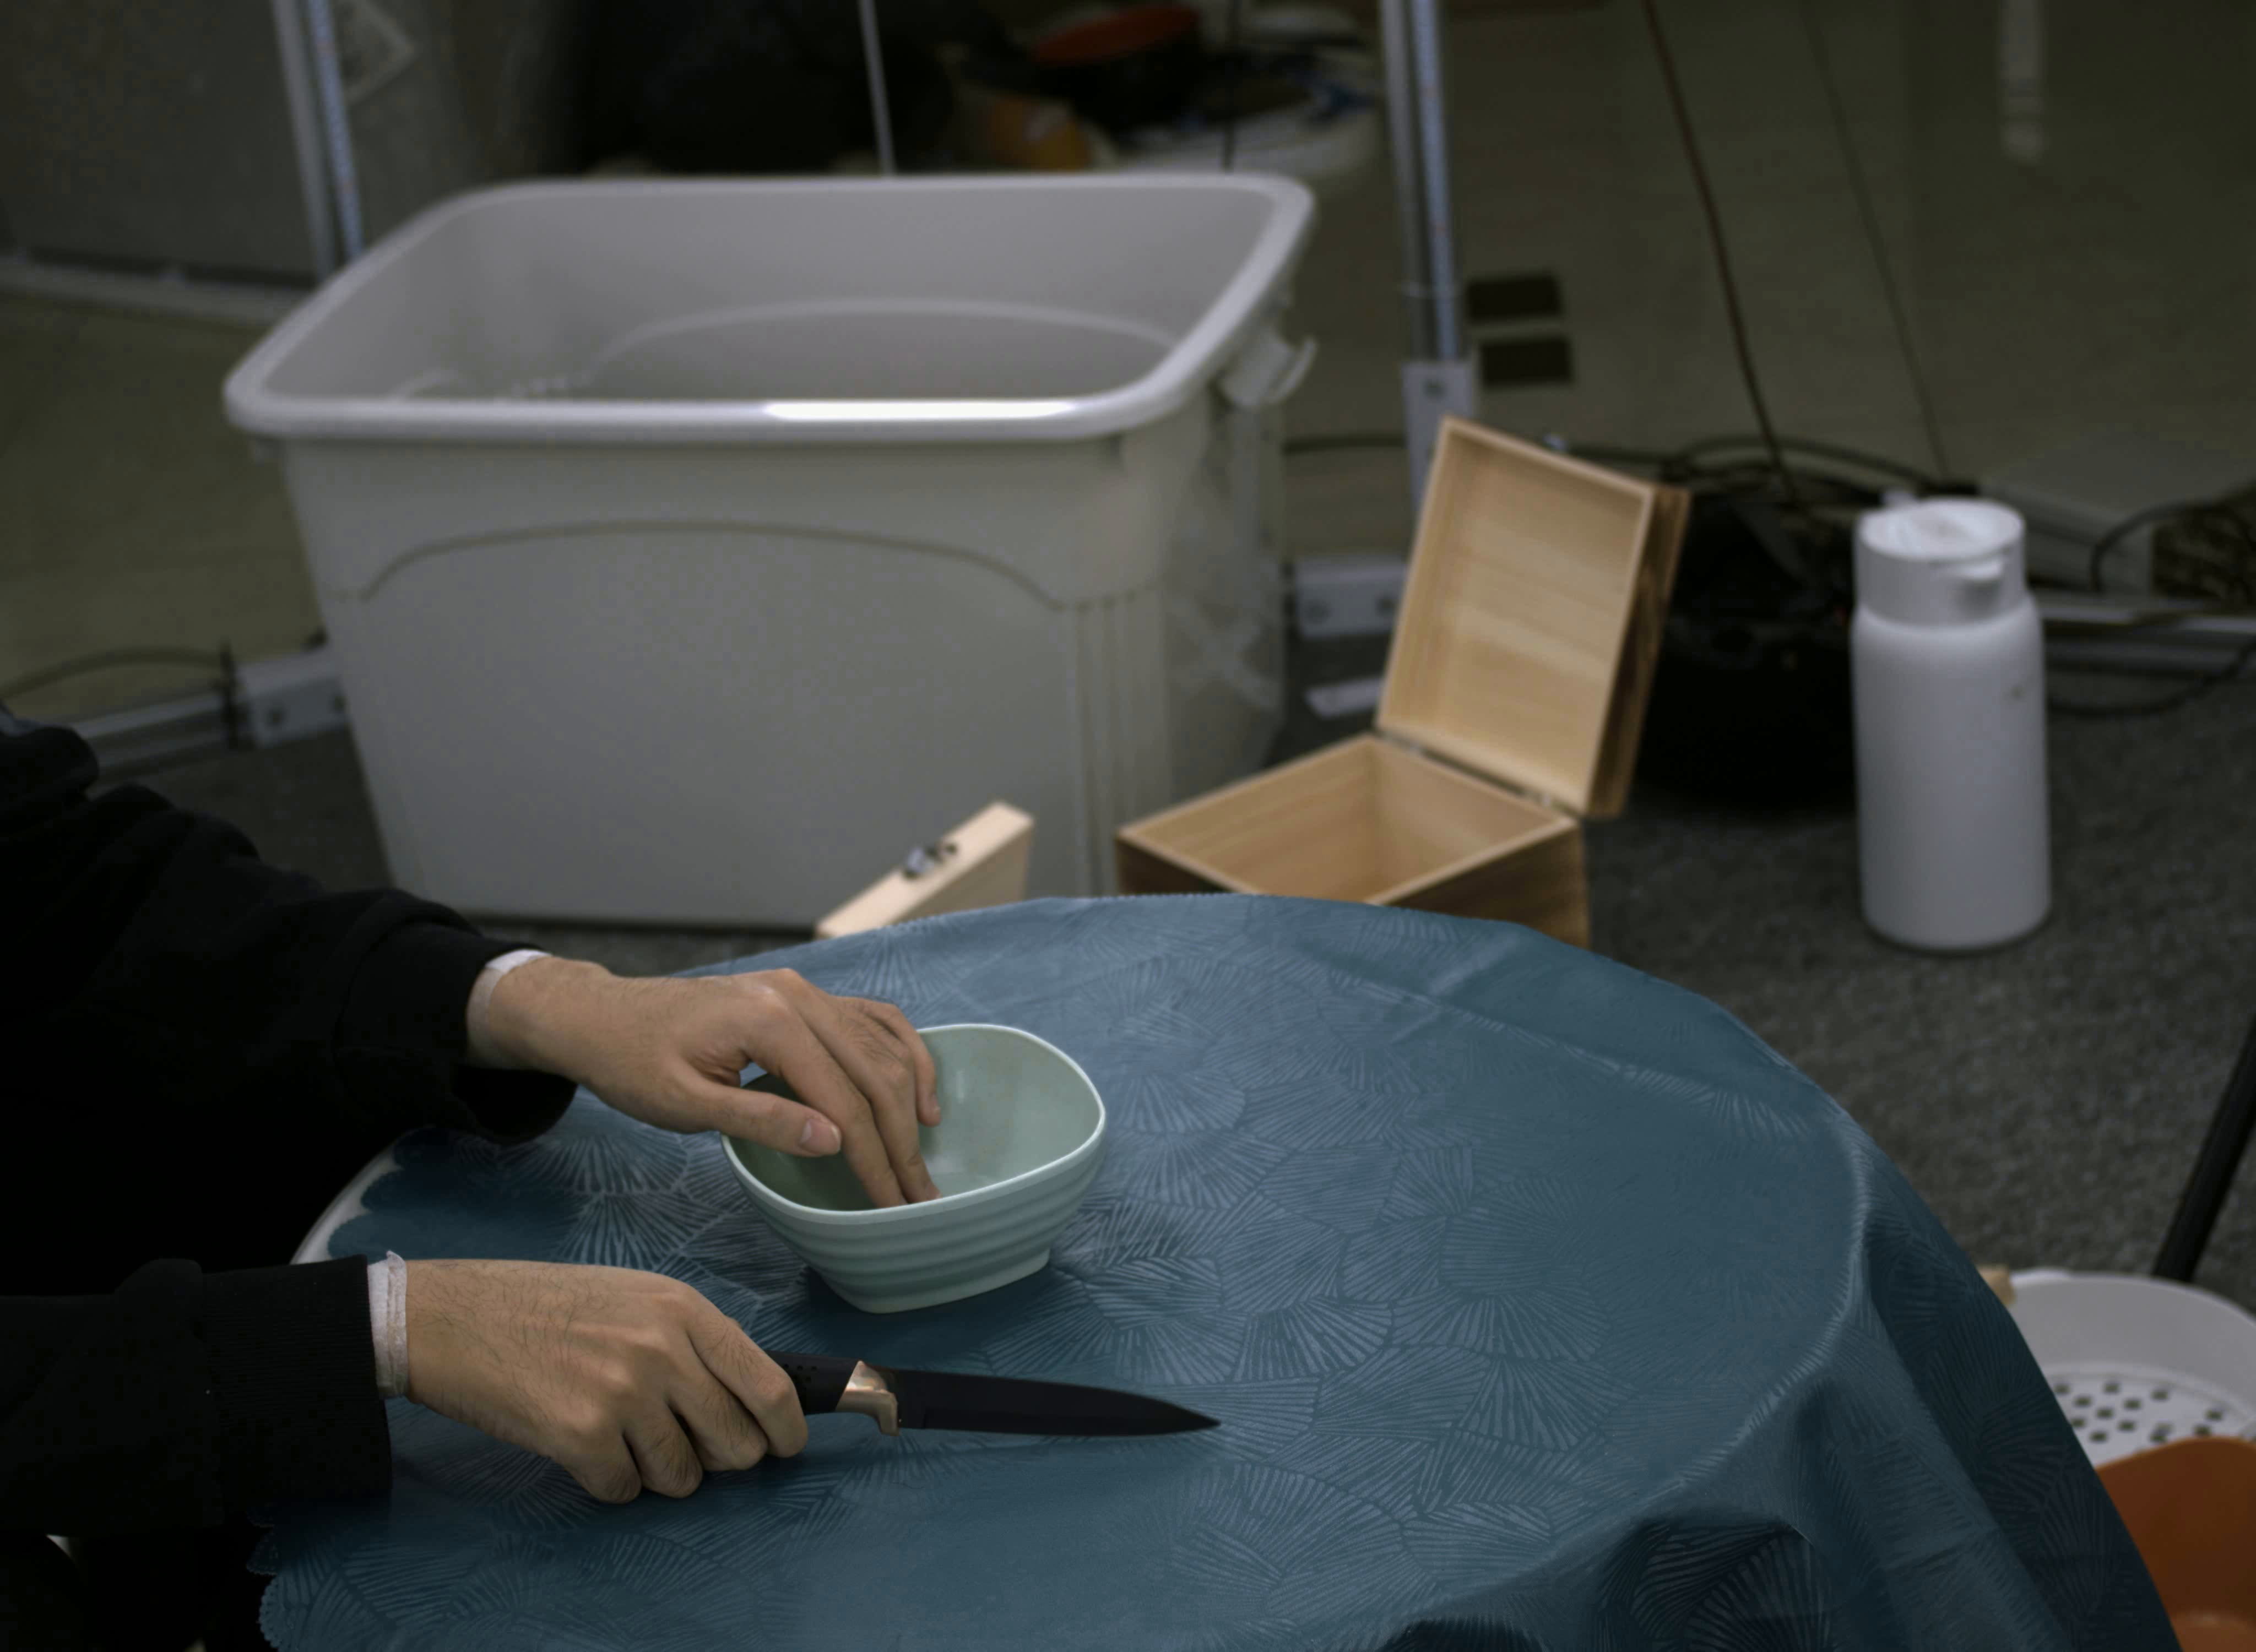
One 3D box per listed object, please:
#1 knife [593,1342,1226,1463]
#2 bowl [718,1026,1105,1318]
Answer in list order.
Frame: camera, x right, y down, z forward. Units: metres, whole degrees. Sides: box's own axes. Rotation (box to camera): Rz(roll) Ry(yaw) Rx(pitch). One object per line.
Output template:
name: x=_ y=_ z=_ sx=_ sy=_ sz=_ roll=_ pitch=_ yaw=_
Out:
knife: x=-0.077 y=0.201 z=1.989 sx=0.225 sy=0.026 sz=0.017 roll=6 pitch=4 yaw=1
bowl: x=-0.078 y=0.134 z=2.111 sx=0.151 sy=0.059 sz=0.149 roll=-5 pitch=27 yaw=2
